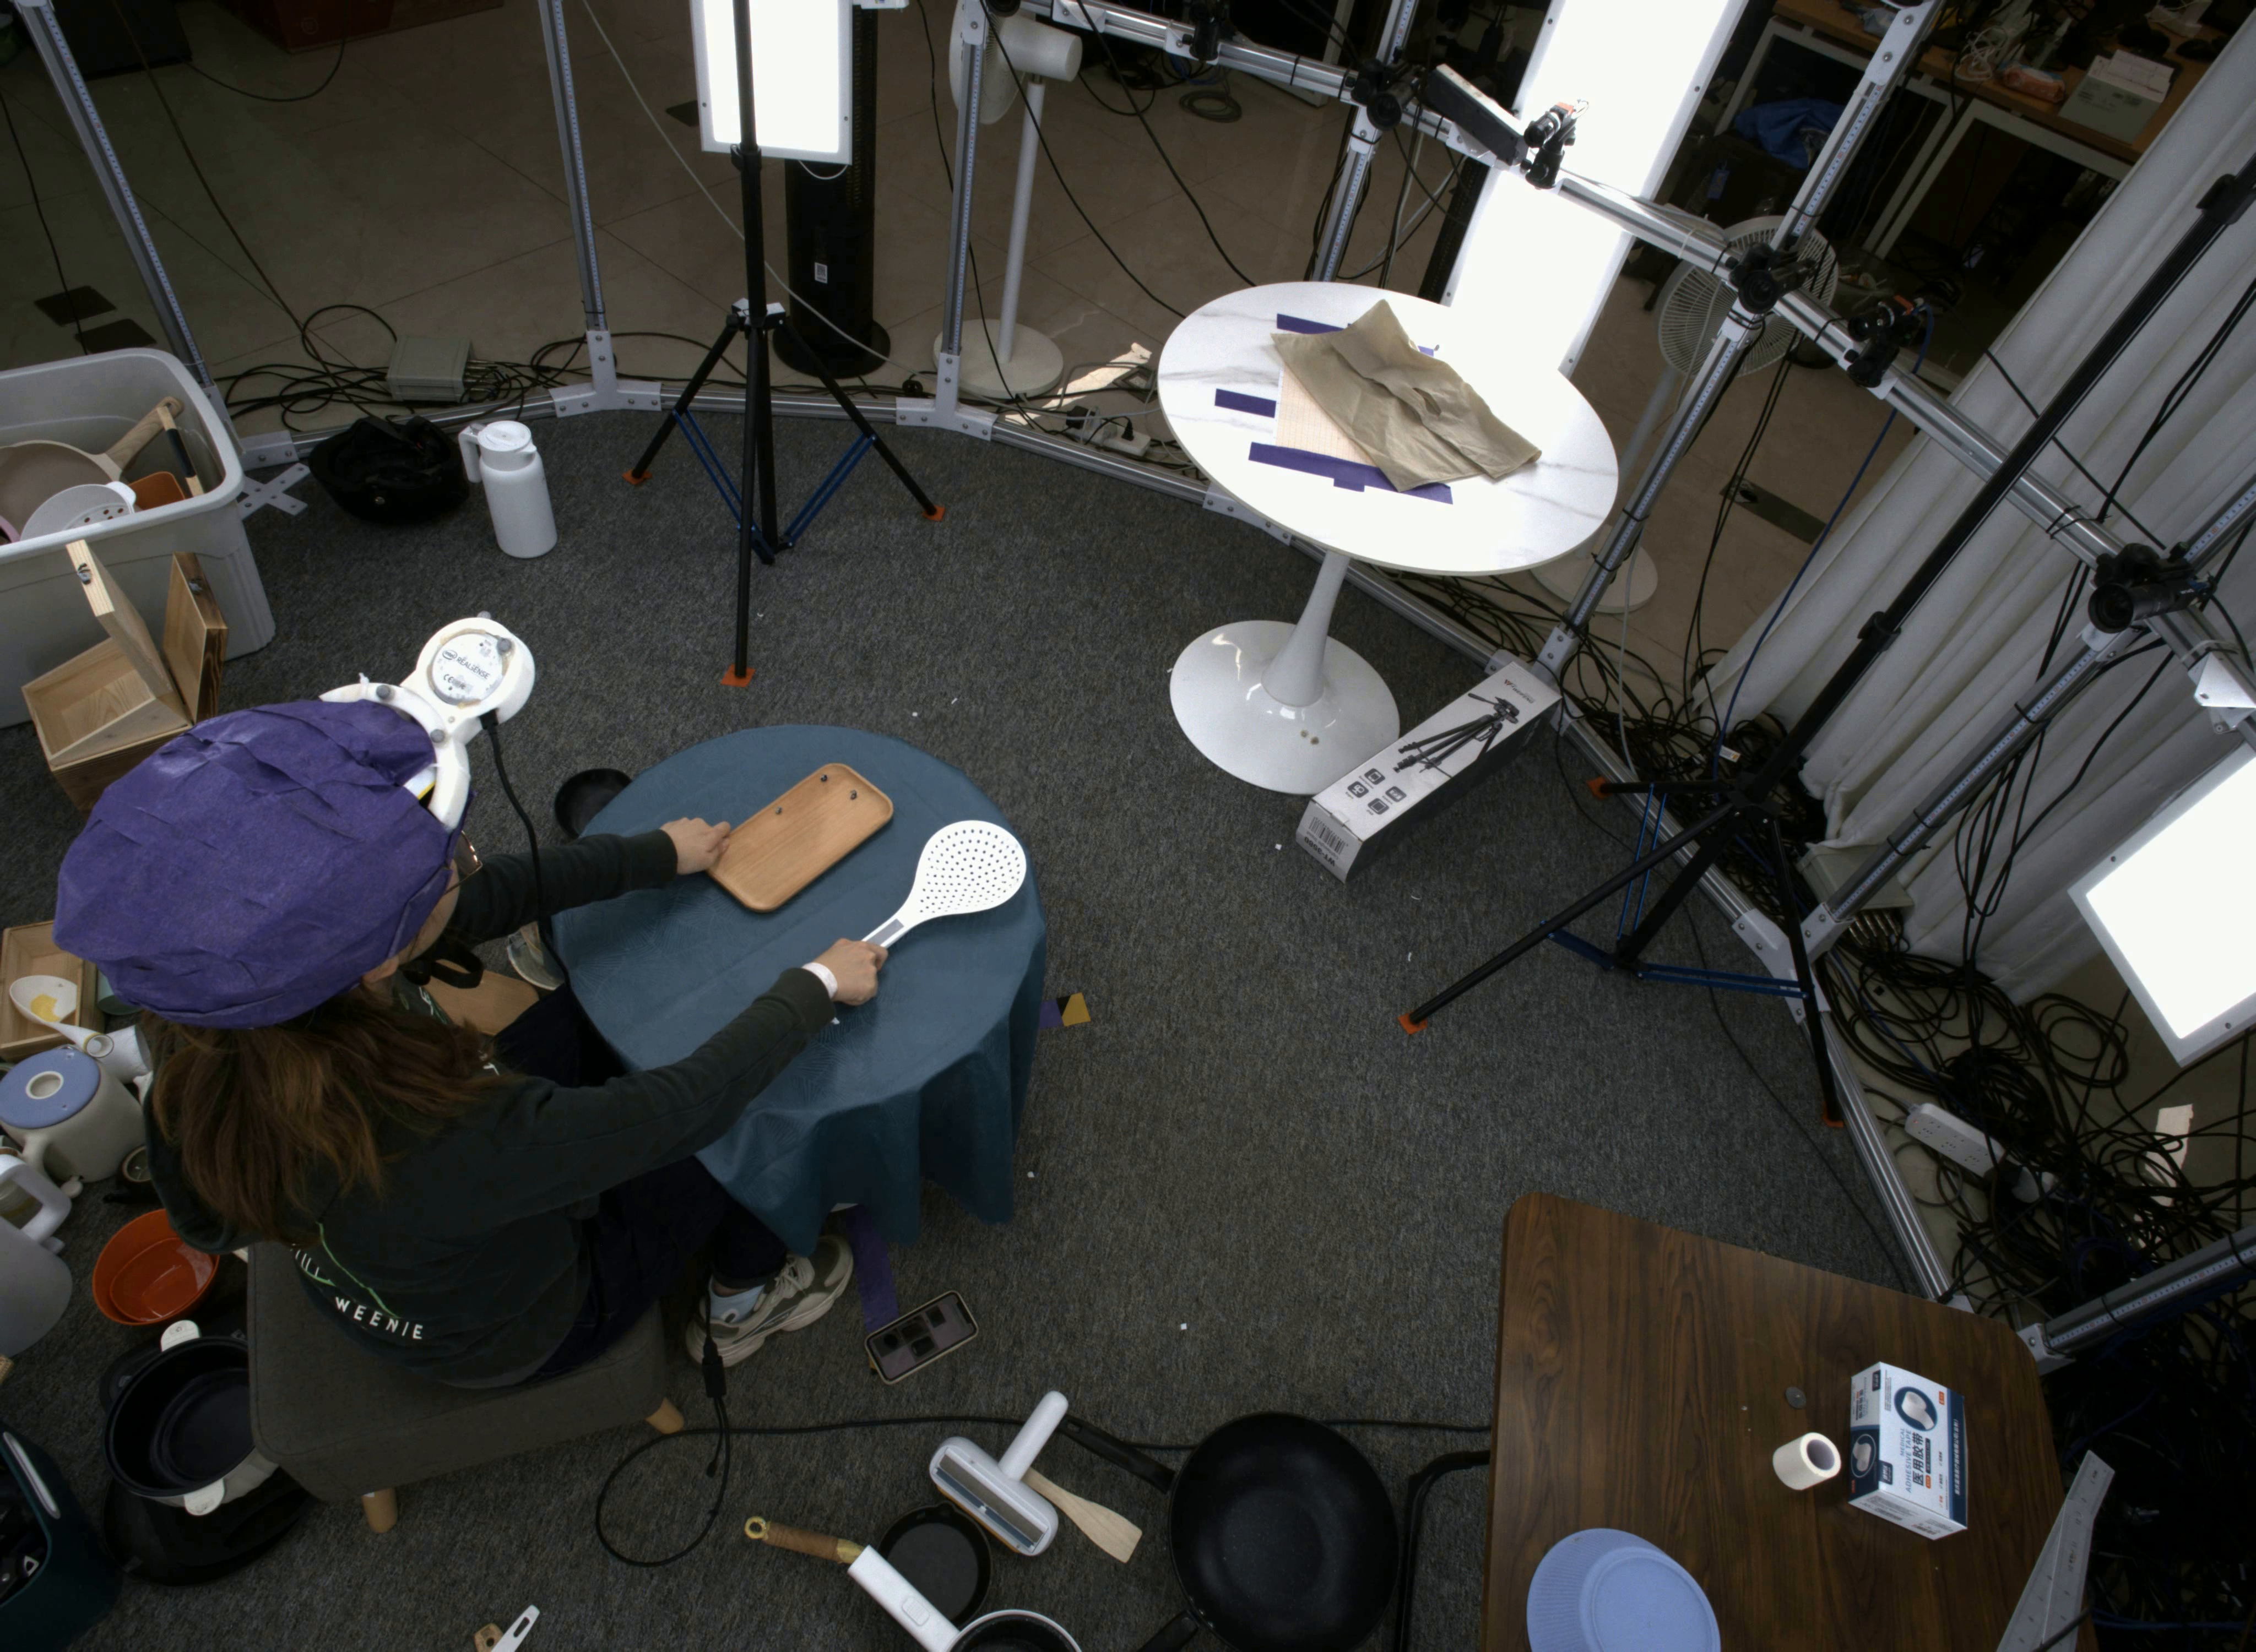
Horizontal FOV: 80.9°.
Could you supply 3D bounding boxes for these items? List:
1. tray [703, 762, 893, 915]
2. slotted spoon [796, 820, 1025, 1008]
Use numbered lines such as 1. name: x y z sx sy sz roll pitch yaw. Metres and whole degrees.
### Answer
1. tray: -0.431 0.013 1.707 0.127 0.023 0.251 36 54 16
2. slotted spoon: -0.277 0.112 1.654 0.133 0.046 0.350 41 56 17
